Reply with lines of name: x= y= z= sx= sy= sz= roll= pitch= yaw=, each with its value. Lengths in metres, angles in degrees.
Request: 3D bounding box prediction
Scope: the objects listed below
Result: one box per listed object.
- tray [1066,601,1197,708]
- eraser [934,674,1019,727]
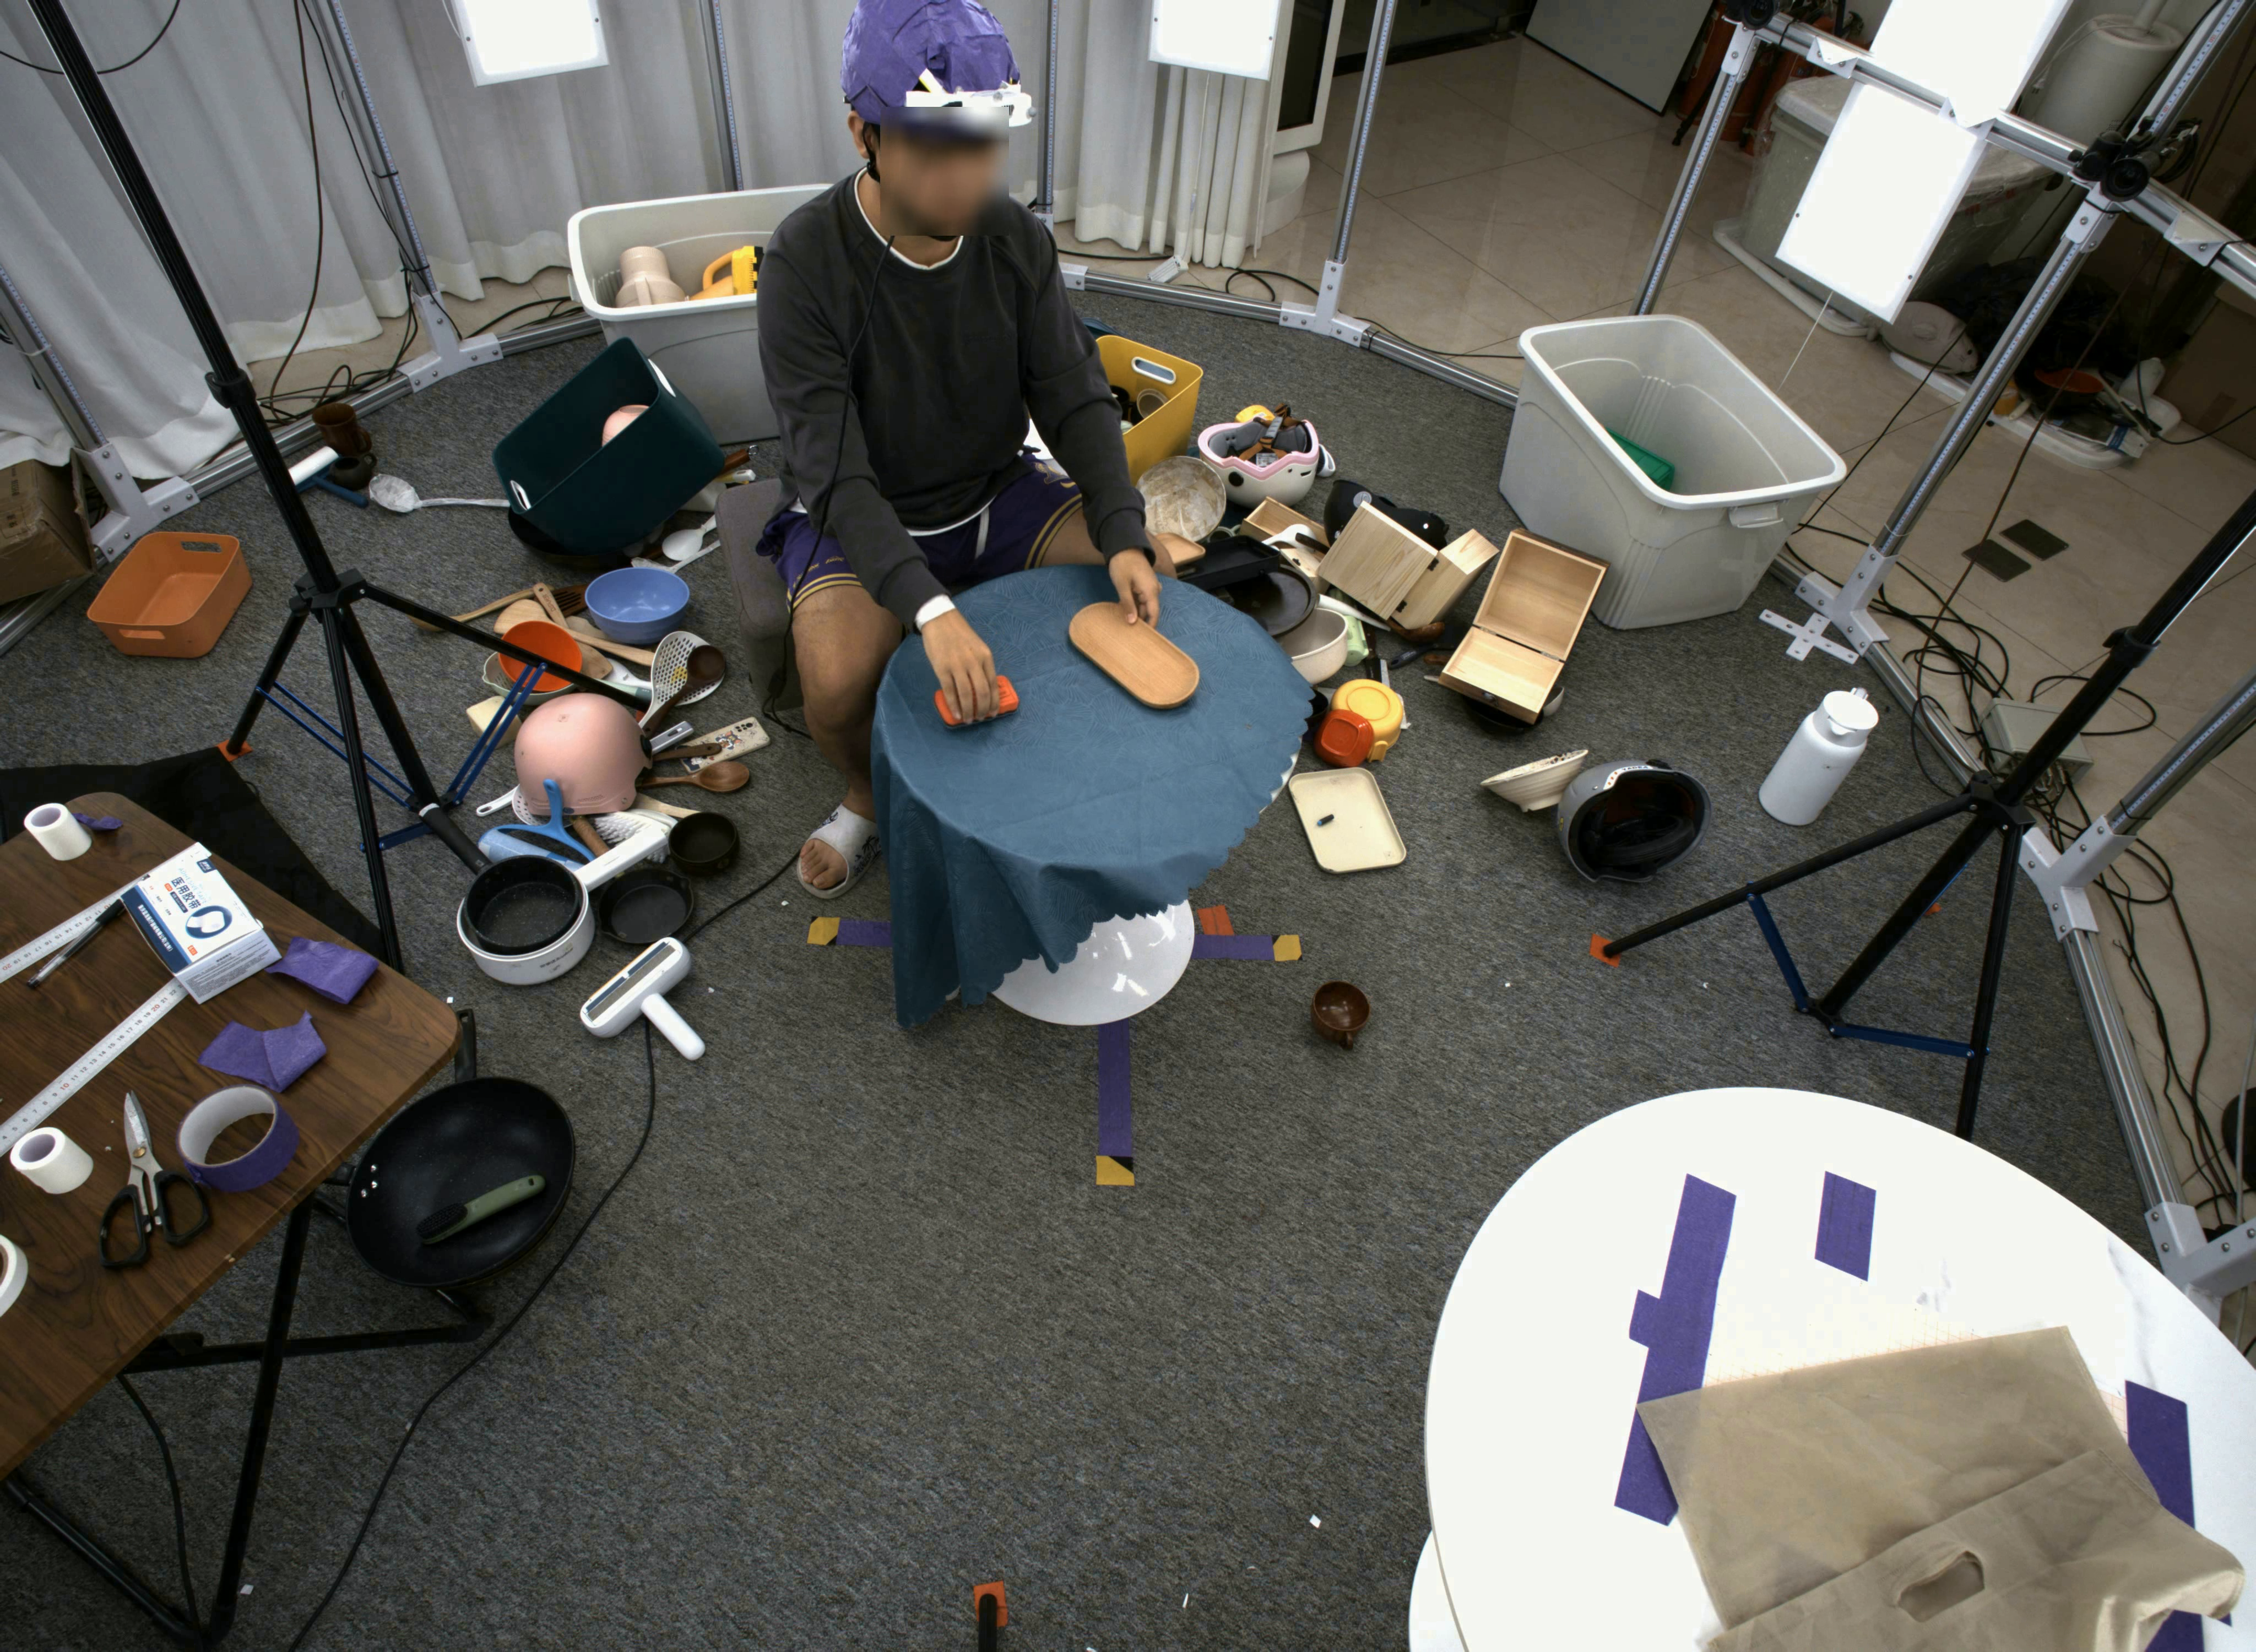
tray: x=0.005 y=-0.250 z=1.863 sx=0.102 sy=0.020 sz=0.235 roll=-38 pitch=60 yaw=-20
eraser: x=-0.209 y=-0.174 z=1.774 sx=0.108 sy=0.022 sz=0.060 roll=-15 pitch=62 yaw=-24
